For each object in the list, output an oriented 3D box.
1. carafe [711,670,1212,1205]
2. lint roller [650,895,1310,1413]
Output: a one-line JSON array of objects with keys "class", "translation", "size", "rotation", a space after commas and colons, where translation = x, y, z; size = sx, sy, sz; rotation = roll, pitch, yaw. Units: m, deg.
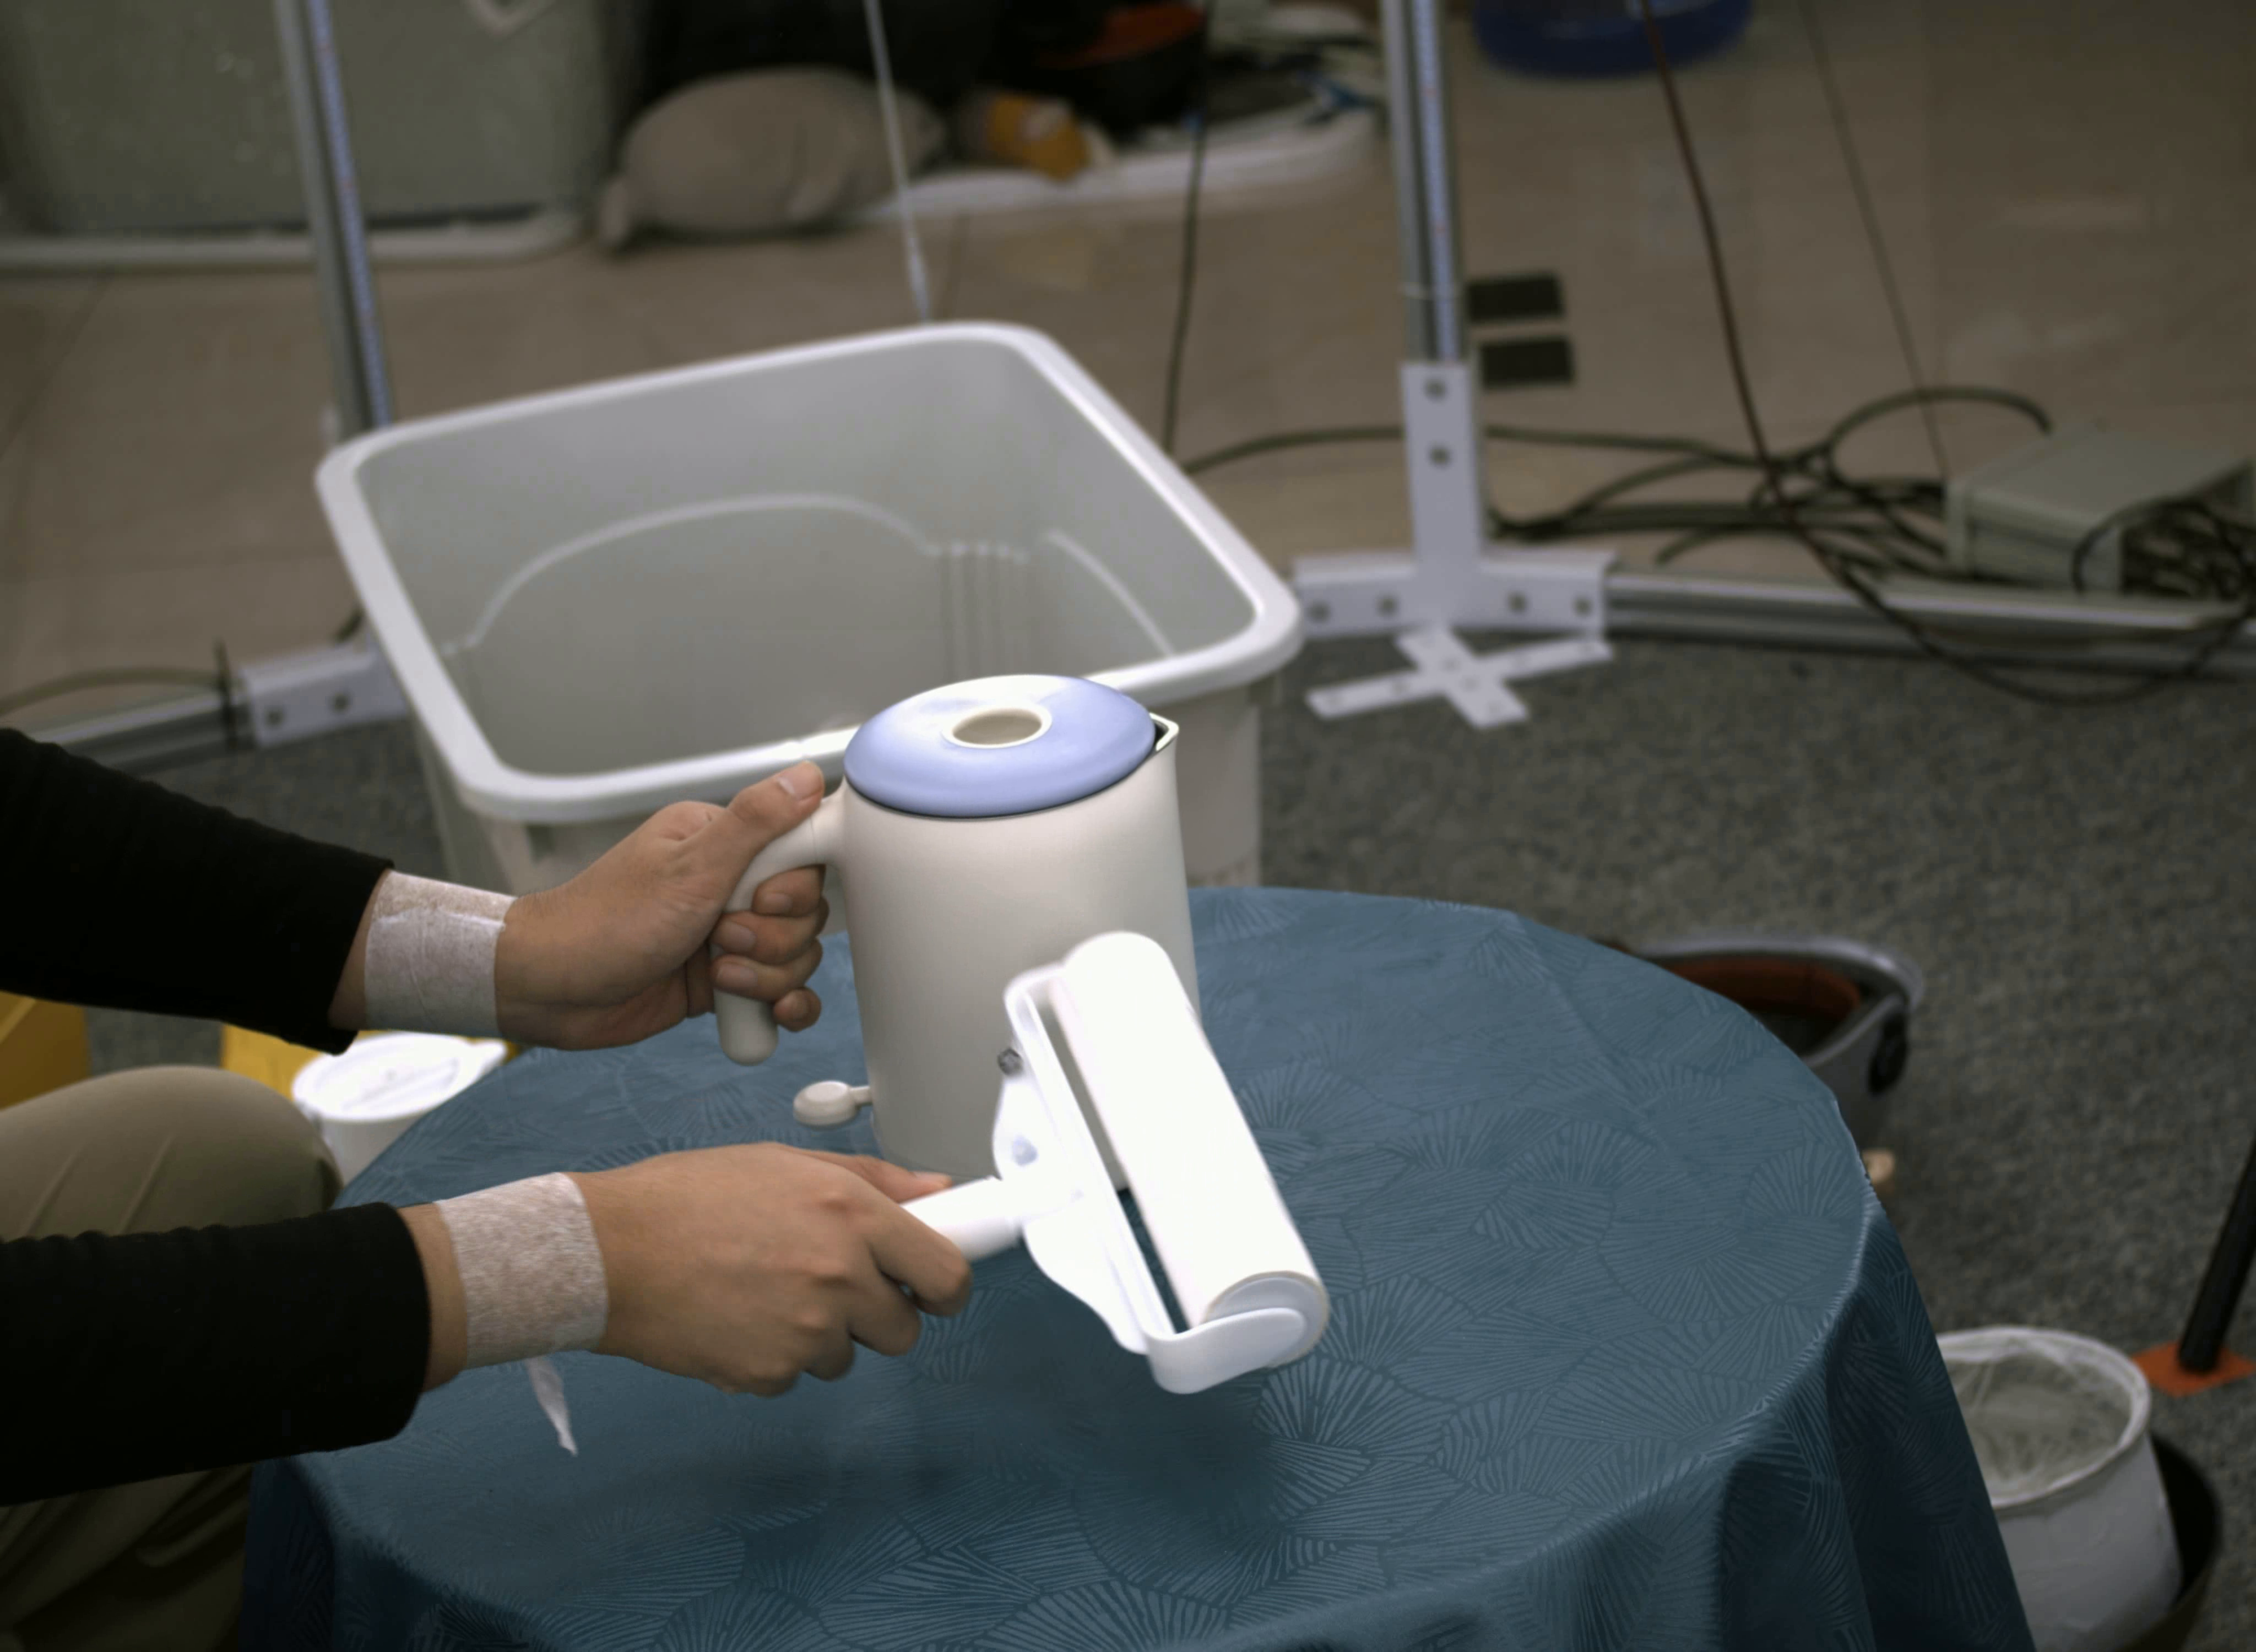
[{"class": "carafe", "translation": [-0.064, 0.047, 2.155], "size": [0.191, 0.185, 0.130], "rotation": [-10, 25, -4]}, {"class": "lint roller", "translation": [-0.068, 0.143, 1.975], "size": [0.225, 0.049, 0.199], "rotation": [-26, 50, 1]}]
